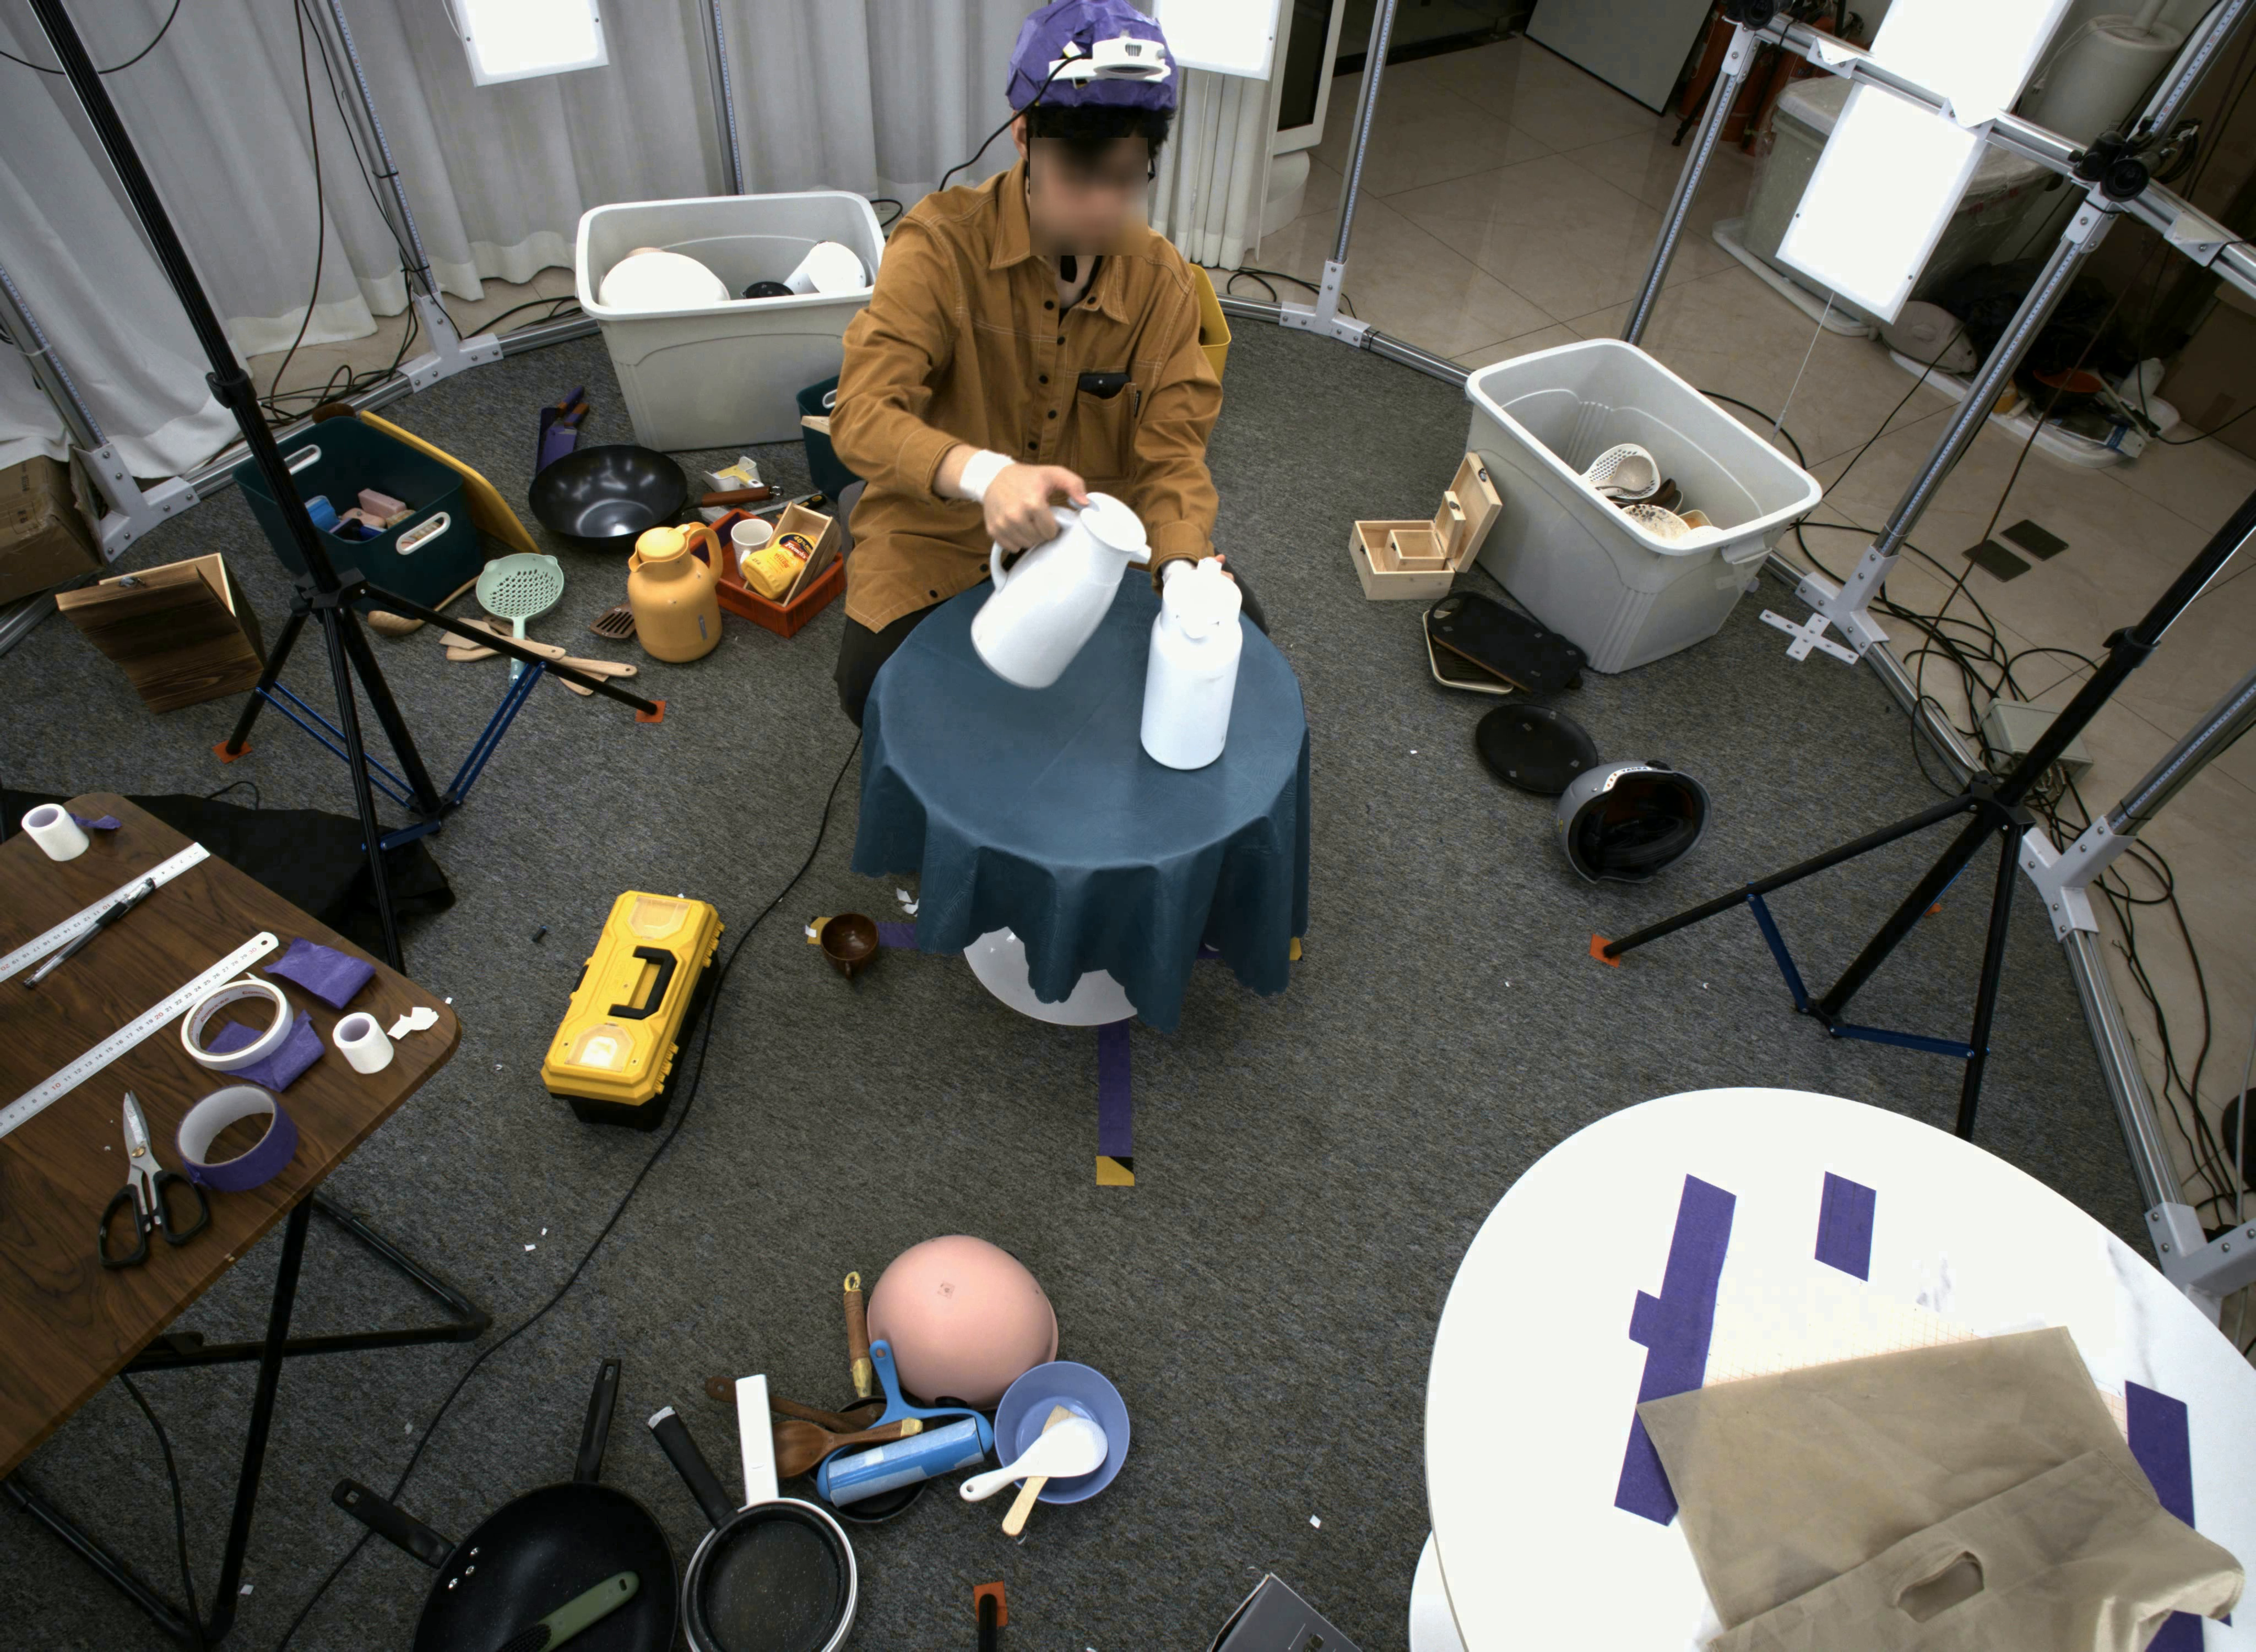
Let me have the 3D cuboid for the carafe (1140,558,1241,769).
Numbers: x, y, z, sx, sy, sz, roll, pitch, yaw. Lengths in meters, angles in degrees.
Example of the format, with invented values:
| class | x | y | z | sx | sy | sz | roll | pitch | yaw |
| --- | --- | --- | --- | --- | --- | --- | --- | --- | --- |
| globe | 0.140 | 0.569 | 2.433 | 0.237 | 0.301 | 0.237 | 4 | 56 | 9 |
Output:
| class | x | y | z | sx | sy | sz | roll | pitch | yaw |
| --- | --- | --- | --- | --- | --- | --- | --- | --- | --- |
| carafe | 0.084 | -0.215 | 1.689 | 0.124 | 0.262 | 0.177 | 8 | 49 | 5 |

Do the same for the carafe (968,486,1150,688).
| class | x | y | z | sx | sy | sz | roll | pitch | yaw |
| --- | --- | --- | --- | --- | --- | --- | --- | --- | --- |
| carafe | -0.096 | -0.302 | 1.563 | 0.166 | 0.245 | 0.136 | 25 | 43 | -21 |
